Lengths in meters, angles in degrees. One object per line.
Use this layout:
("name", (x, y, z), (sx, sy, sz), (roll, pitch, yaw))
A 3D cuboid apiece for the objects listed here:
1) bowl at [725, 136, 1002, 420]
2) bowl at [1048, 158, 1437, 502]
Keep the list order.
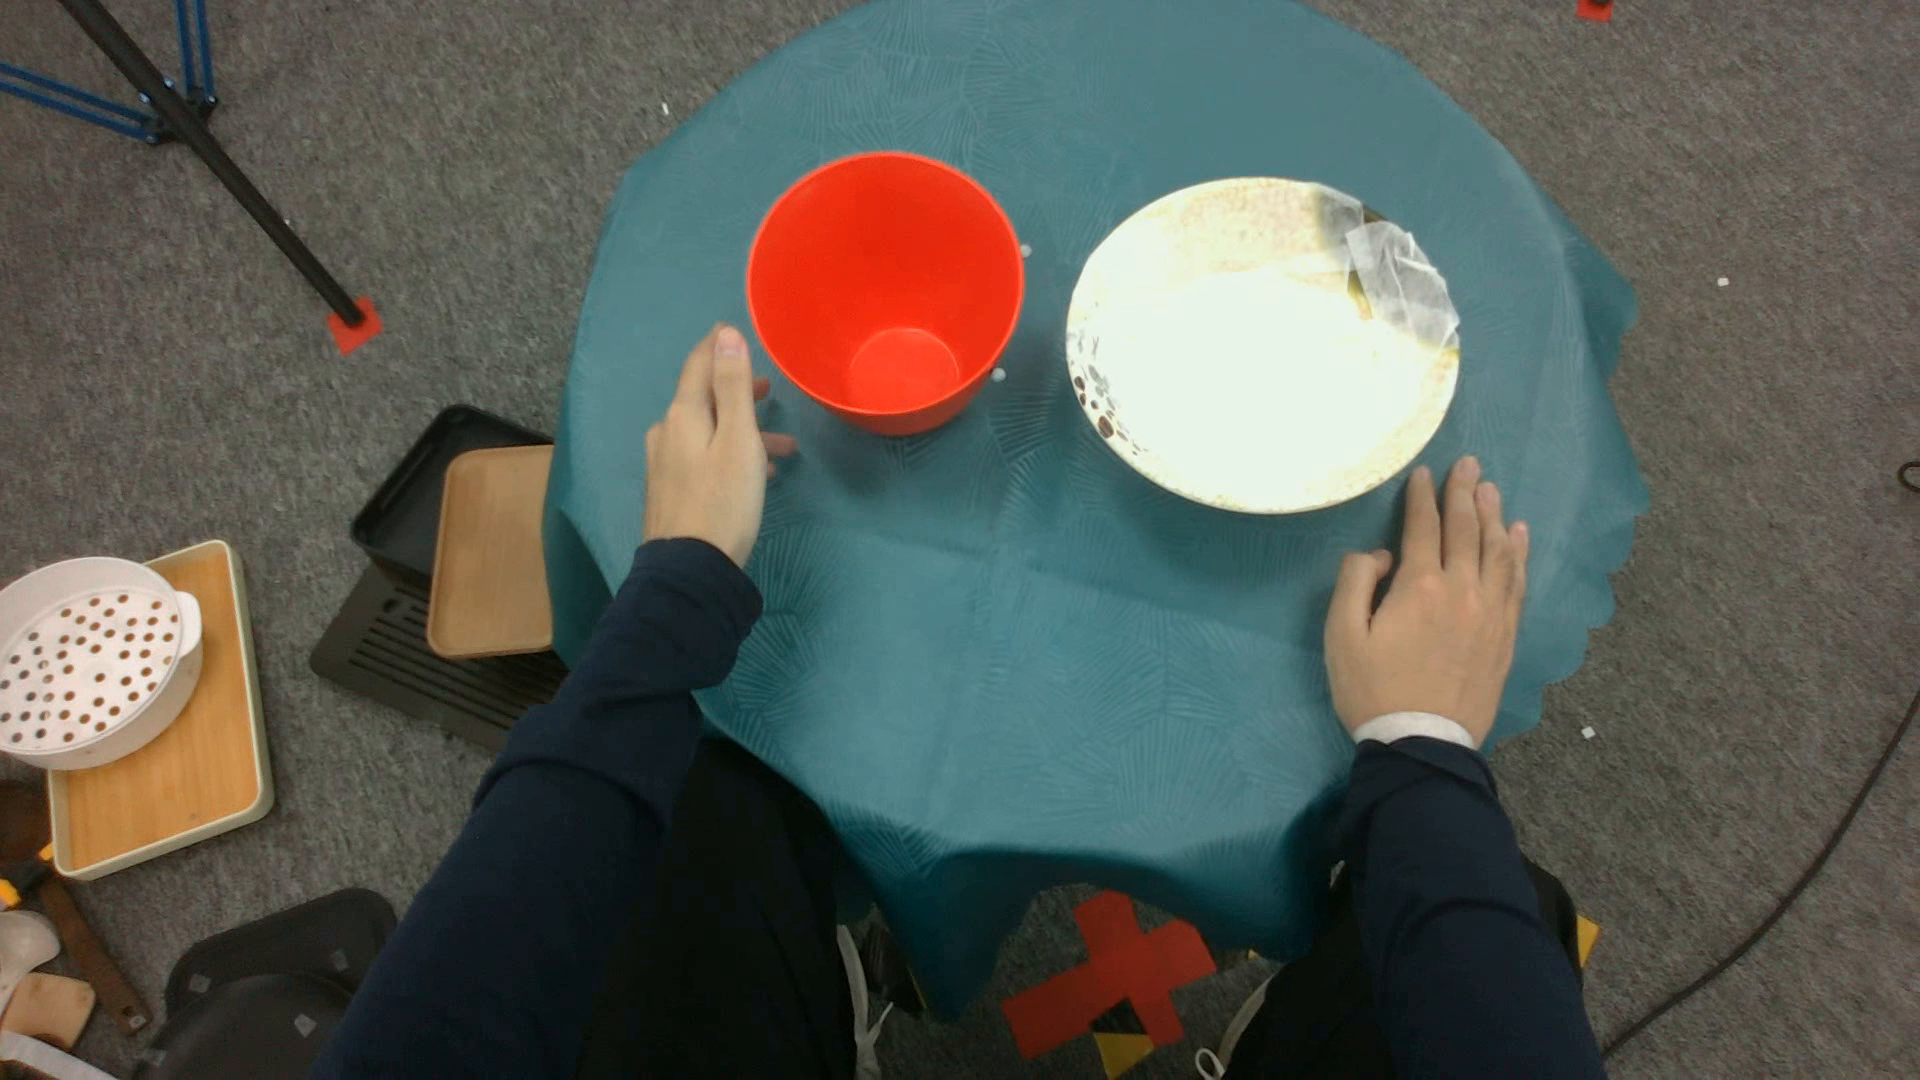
("bowl", (-0.049, -0.132, 0.767), (0.148, 0.104, 0.148), (-1, 69, 2))
("bowl", (0.151, -0.104, 0.763), (0.204, 0.078, 0.204), (-1, 71, 4))
